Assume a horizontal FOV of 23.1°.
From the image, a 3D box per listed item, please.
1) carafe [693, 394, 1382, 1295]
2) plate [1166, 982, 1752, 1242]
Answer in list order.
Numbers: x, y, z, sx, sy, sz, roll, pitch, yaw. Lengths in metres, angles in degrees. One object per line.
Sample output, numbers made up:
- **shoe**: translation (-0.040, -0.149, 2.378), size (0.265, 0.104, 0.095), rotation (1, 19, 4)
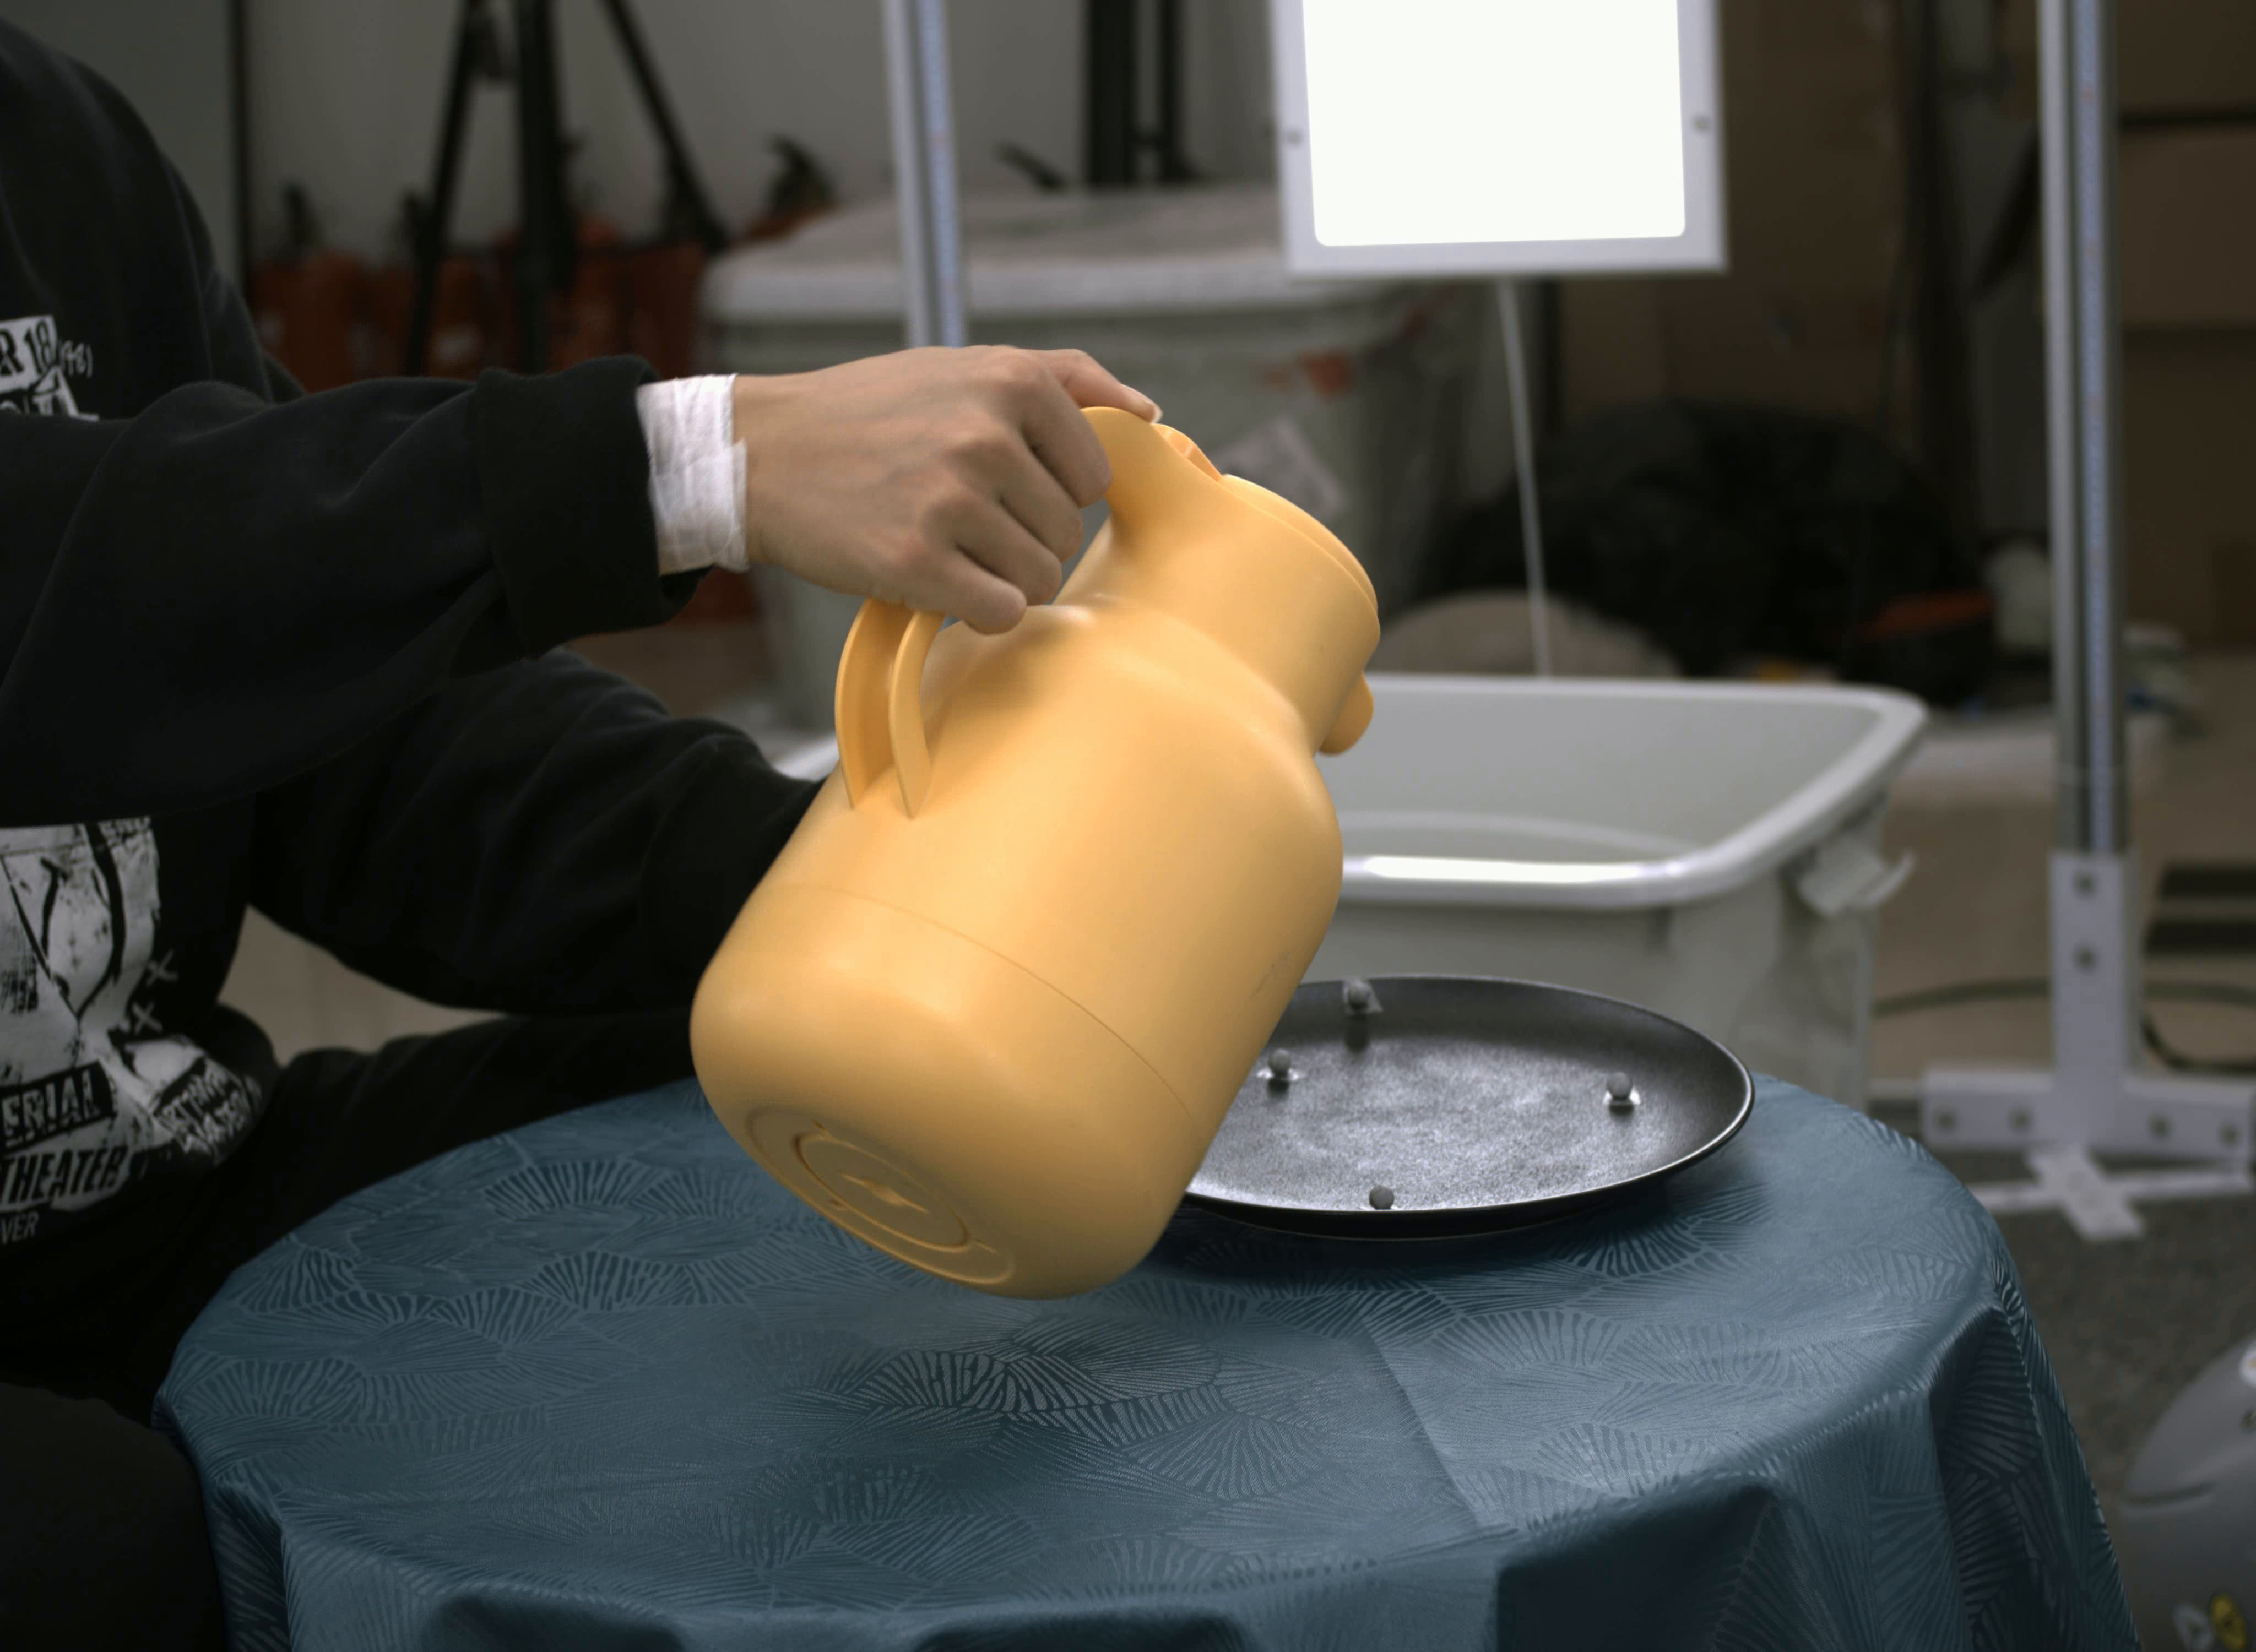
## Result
- **carafe**: translation (-0.026, -0.004, 1.719), size (0.167, 0.200, 0.257), rotation (4, 54, 45)
- **plate**: translation (0.094, 0.101, 1.898), size (0.243, 0.023, 0.244), rotation (-3, 16, 0)
